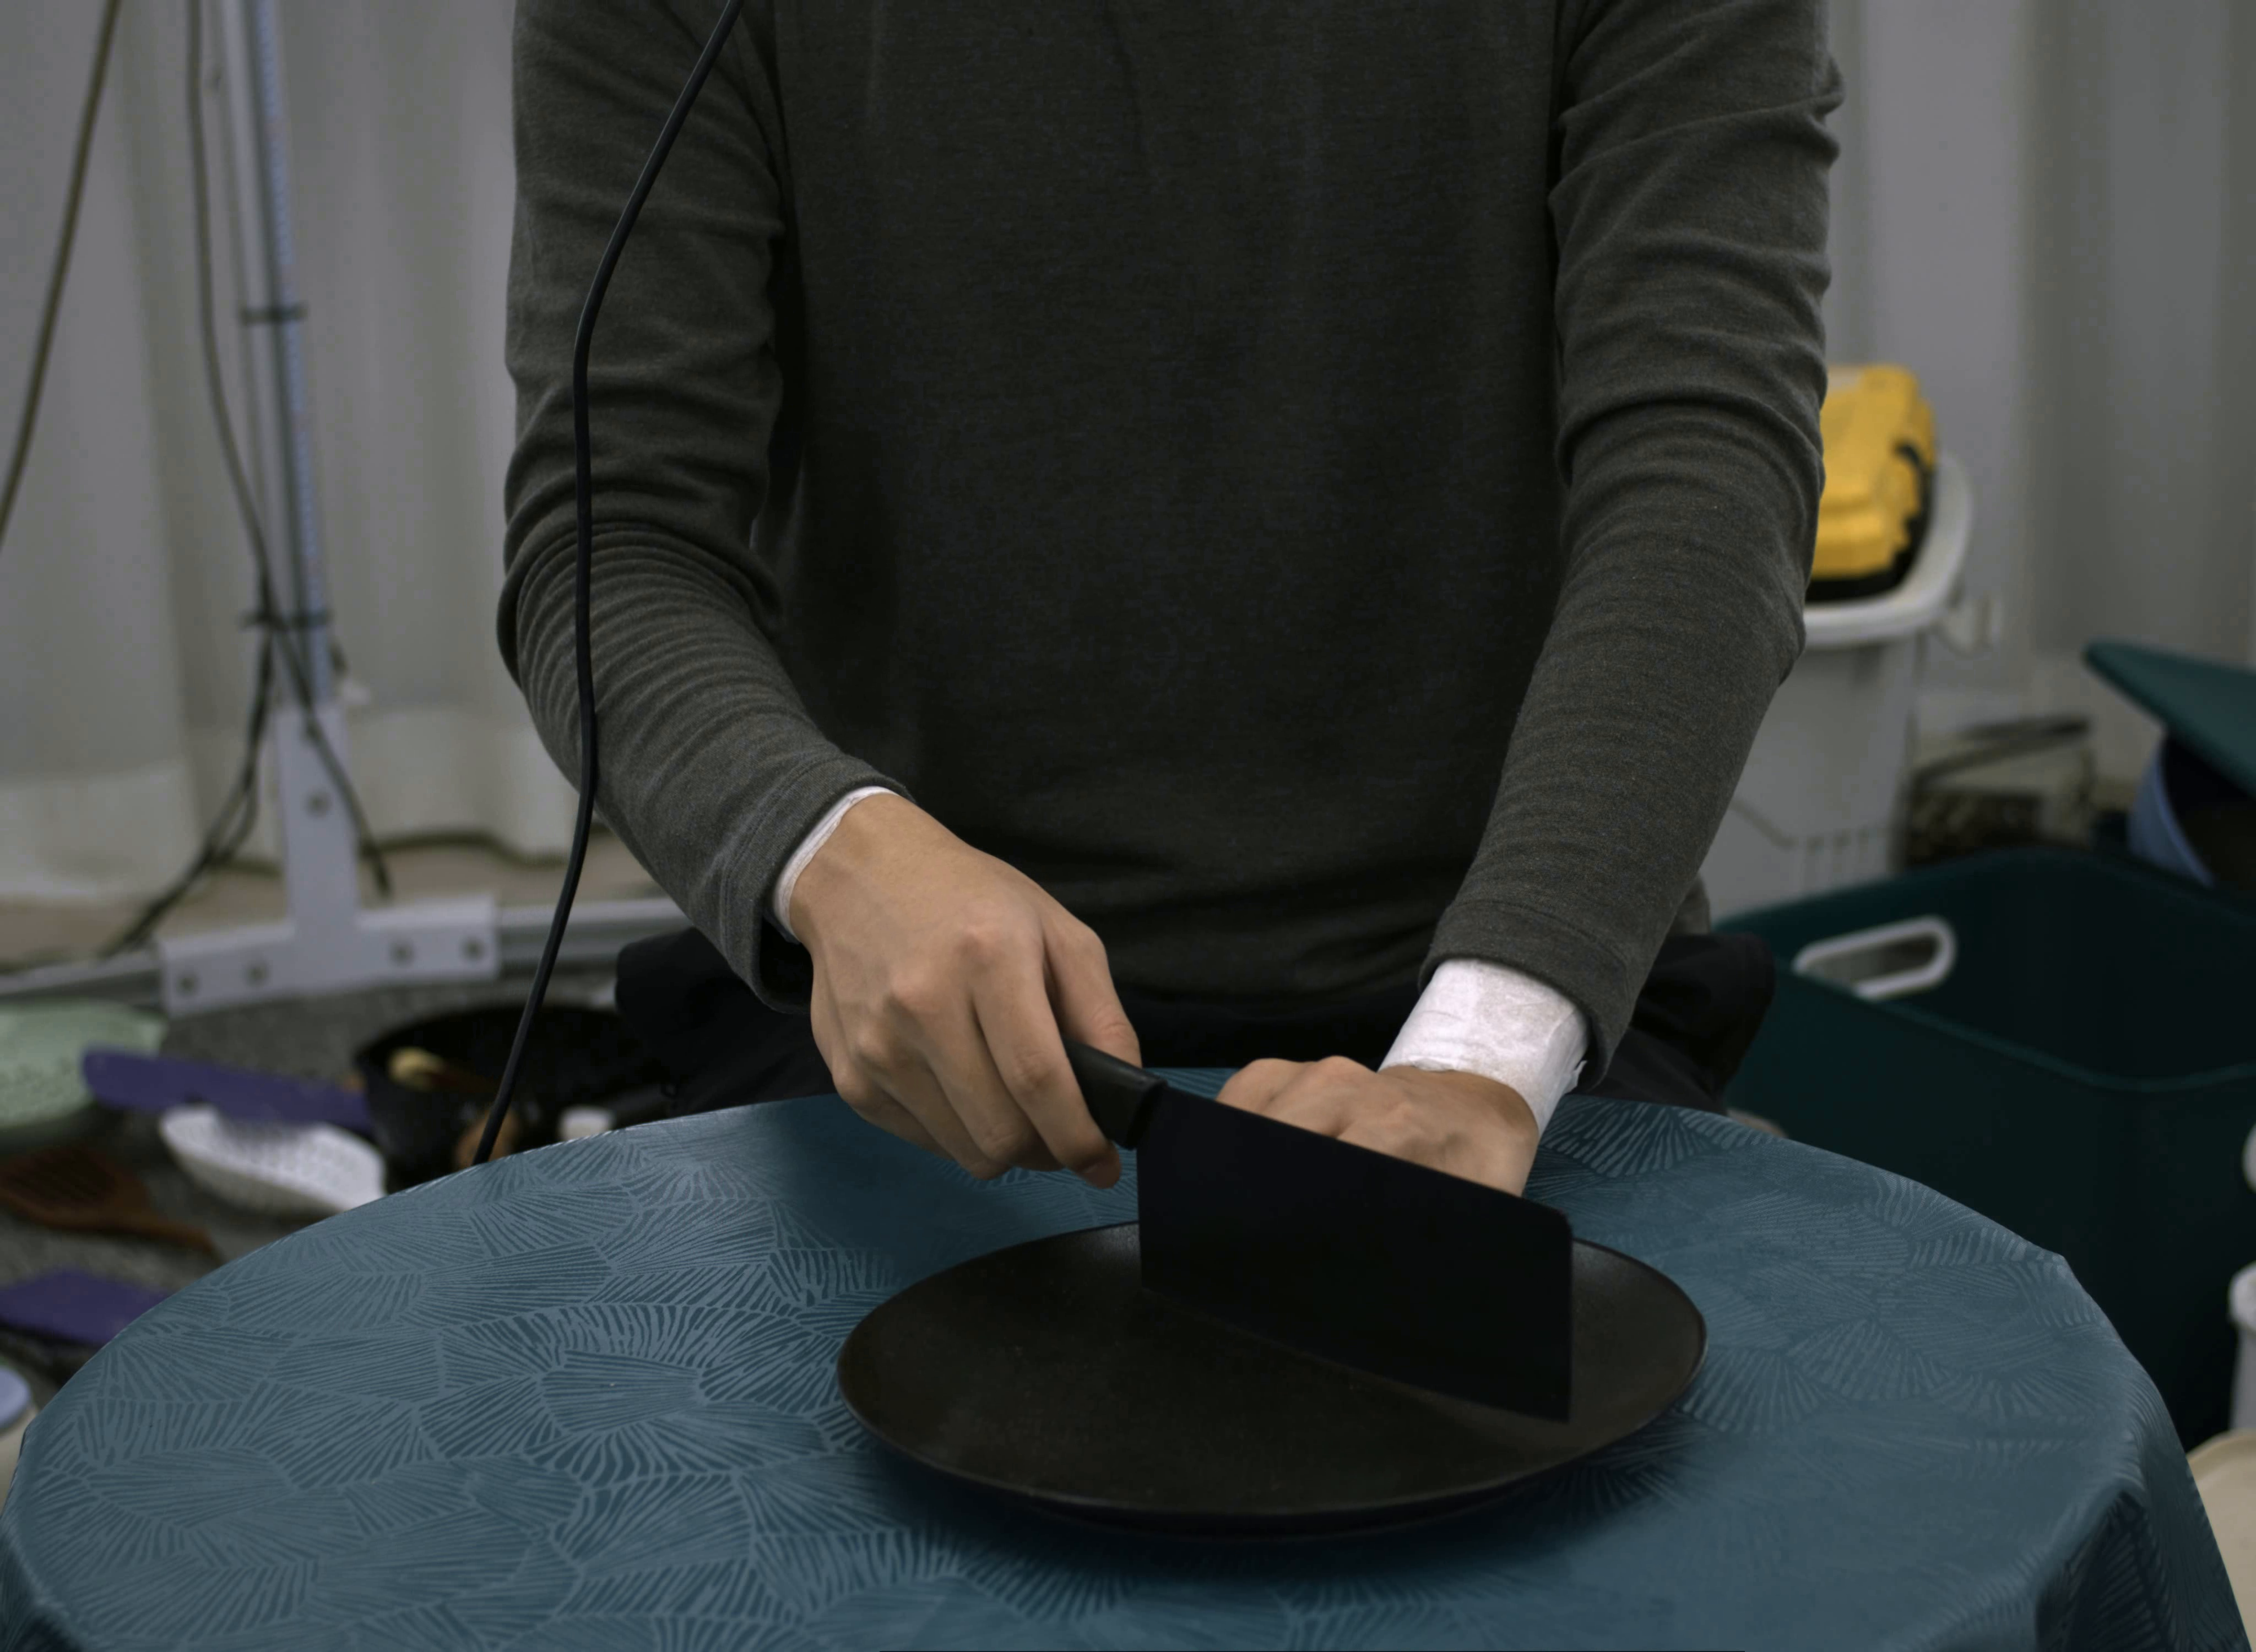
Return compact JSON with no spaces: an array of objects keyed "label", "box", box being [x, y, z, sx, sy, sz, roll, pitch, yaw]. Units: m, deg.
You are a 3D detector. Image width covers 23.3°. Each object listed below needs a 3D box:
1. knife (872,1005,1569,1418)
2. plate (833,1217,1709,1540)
[{"label":"knife","box":[0.022,0.104,1.567,0.021,0.080,0.304,-10,20,-38]},{"label":"plate","box":[0.040,0.154,1.517,0.243,0.023,0.246,-3,15,0]}]
